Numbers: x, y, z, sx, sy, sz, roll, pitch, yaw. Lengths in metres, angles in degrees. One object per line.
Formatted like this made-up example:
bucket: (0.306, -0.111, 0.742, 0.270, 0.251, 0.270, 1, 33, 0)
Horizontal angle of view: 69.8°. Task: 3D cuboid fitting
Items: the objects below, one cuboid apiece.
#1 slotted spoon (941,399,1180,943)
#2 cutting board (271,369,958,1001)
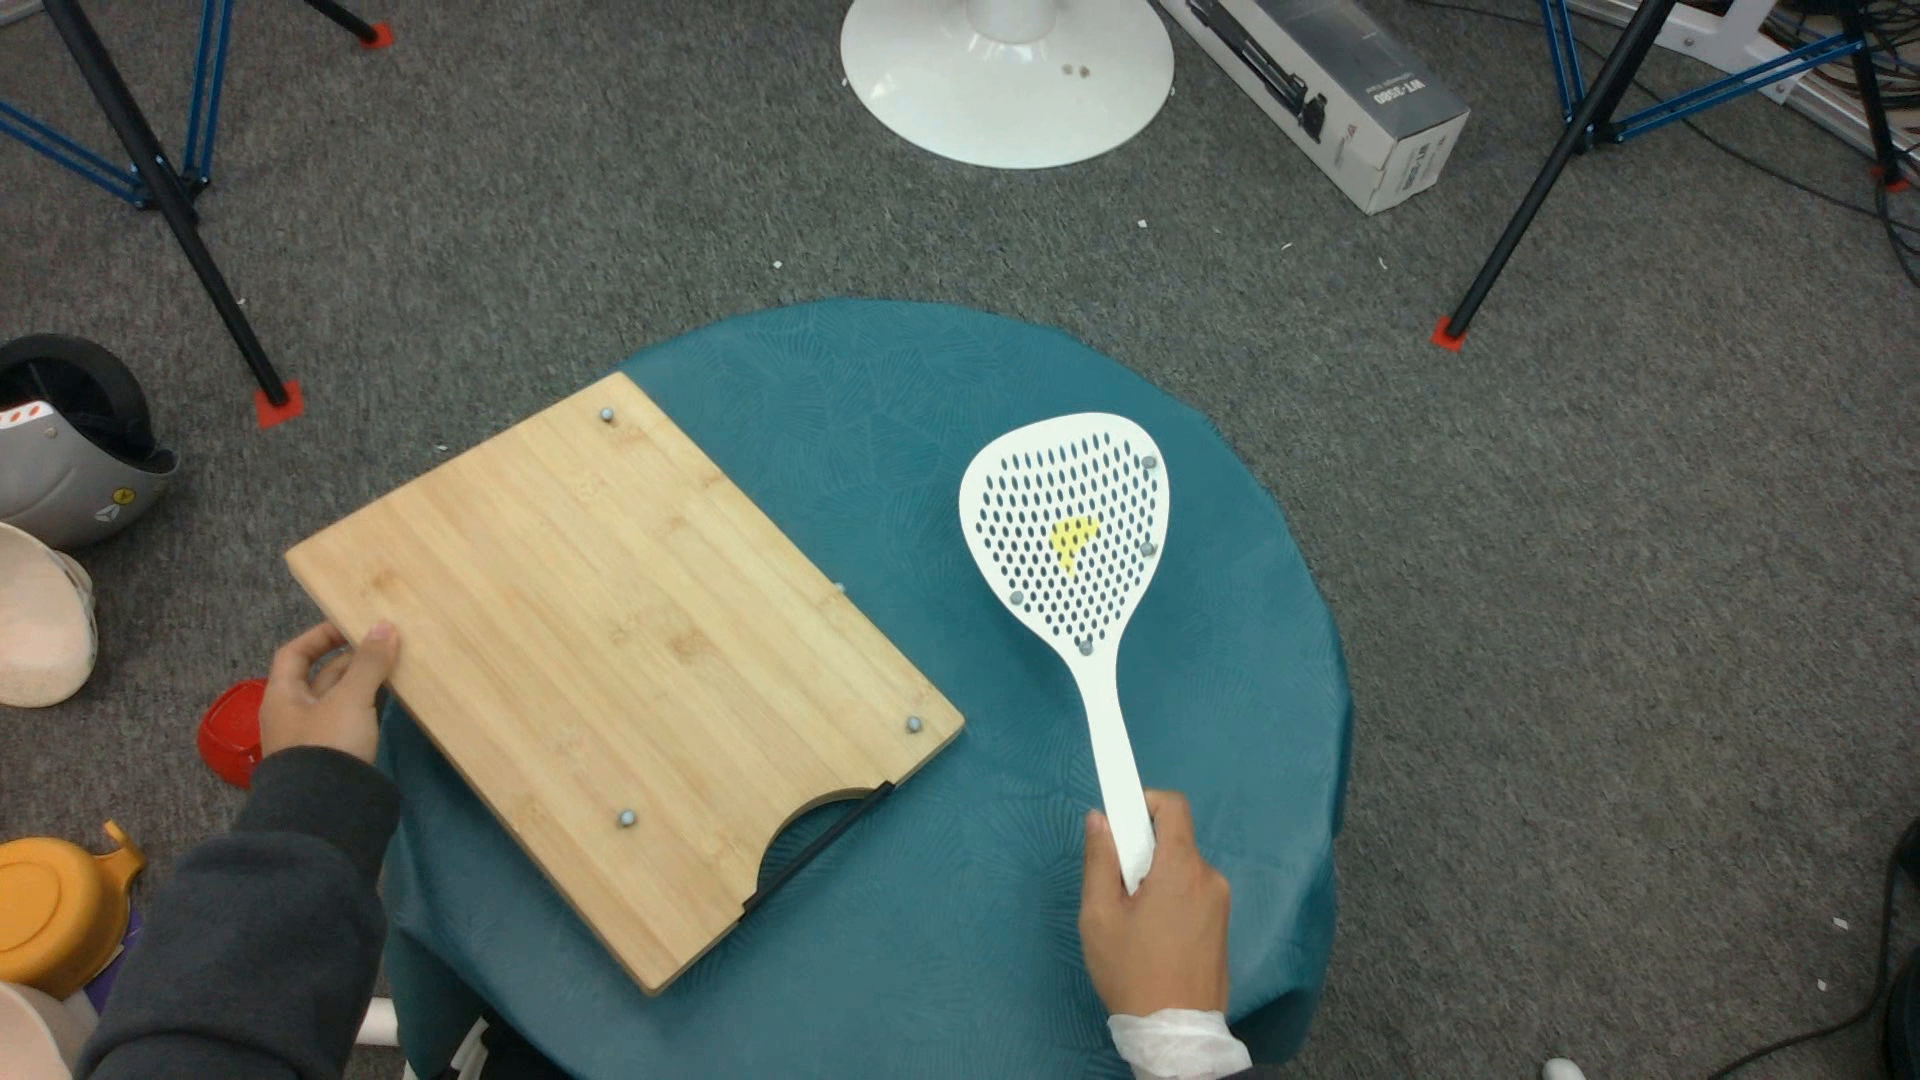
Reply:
slotted spoon: (0.074, 0.064, 0.818, 0.137, 0.050, 0.349, -14, 54, 6)
cutting board: (-0.203, 0.062, 0.828, 0.349, 0.023, 0.252, 43, 57, 14)
